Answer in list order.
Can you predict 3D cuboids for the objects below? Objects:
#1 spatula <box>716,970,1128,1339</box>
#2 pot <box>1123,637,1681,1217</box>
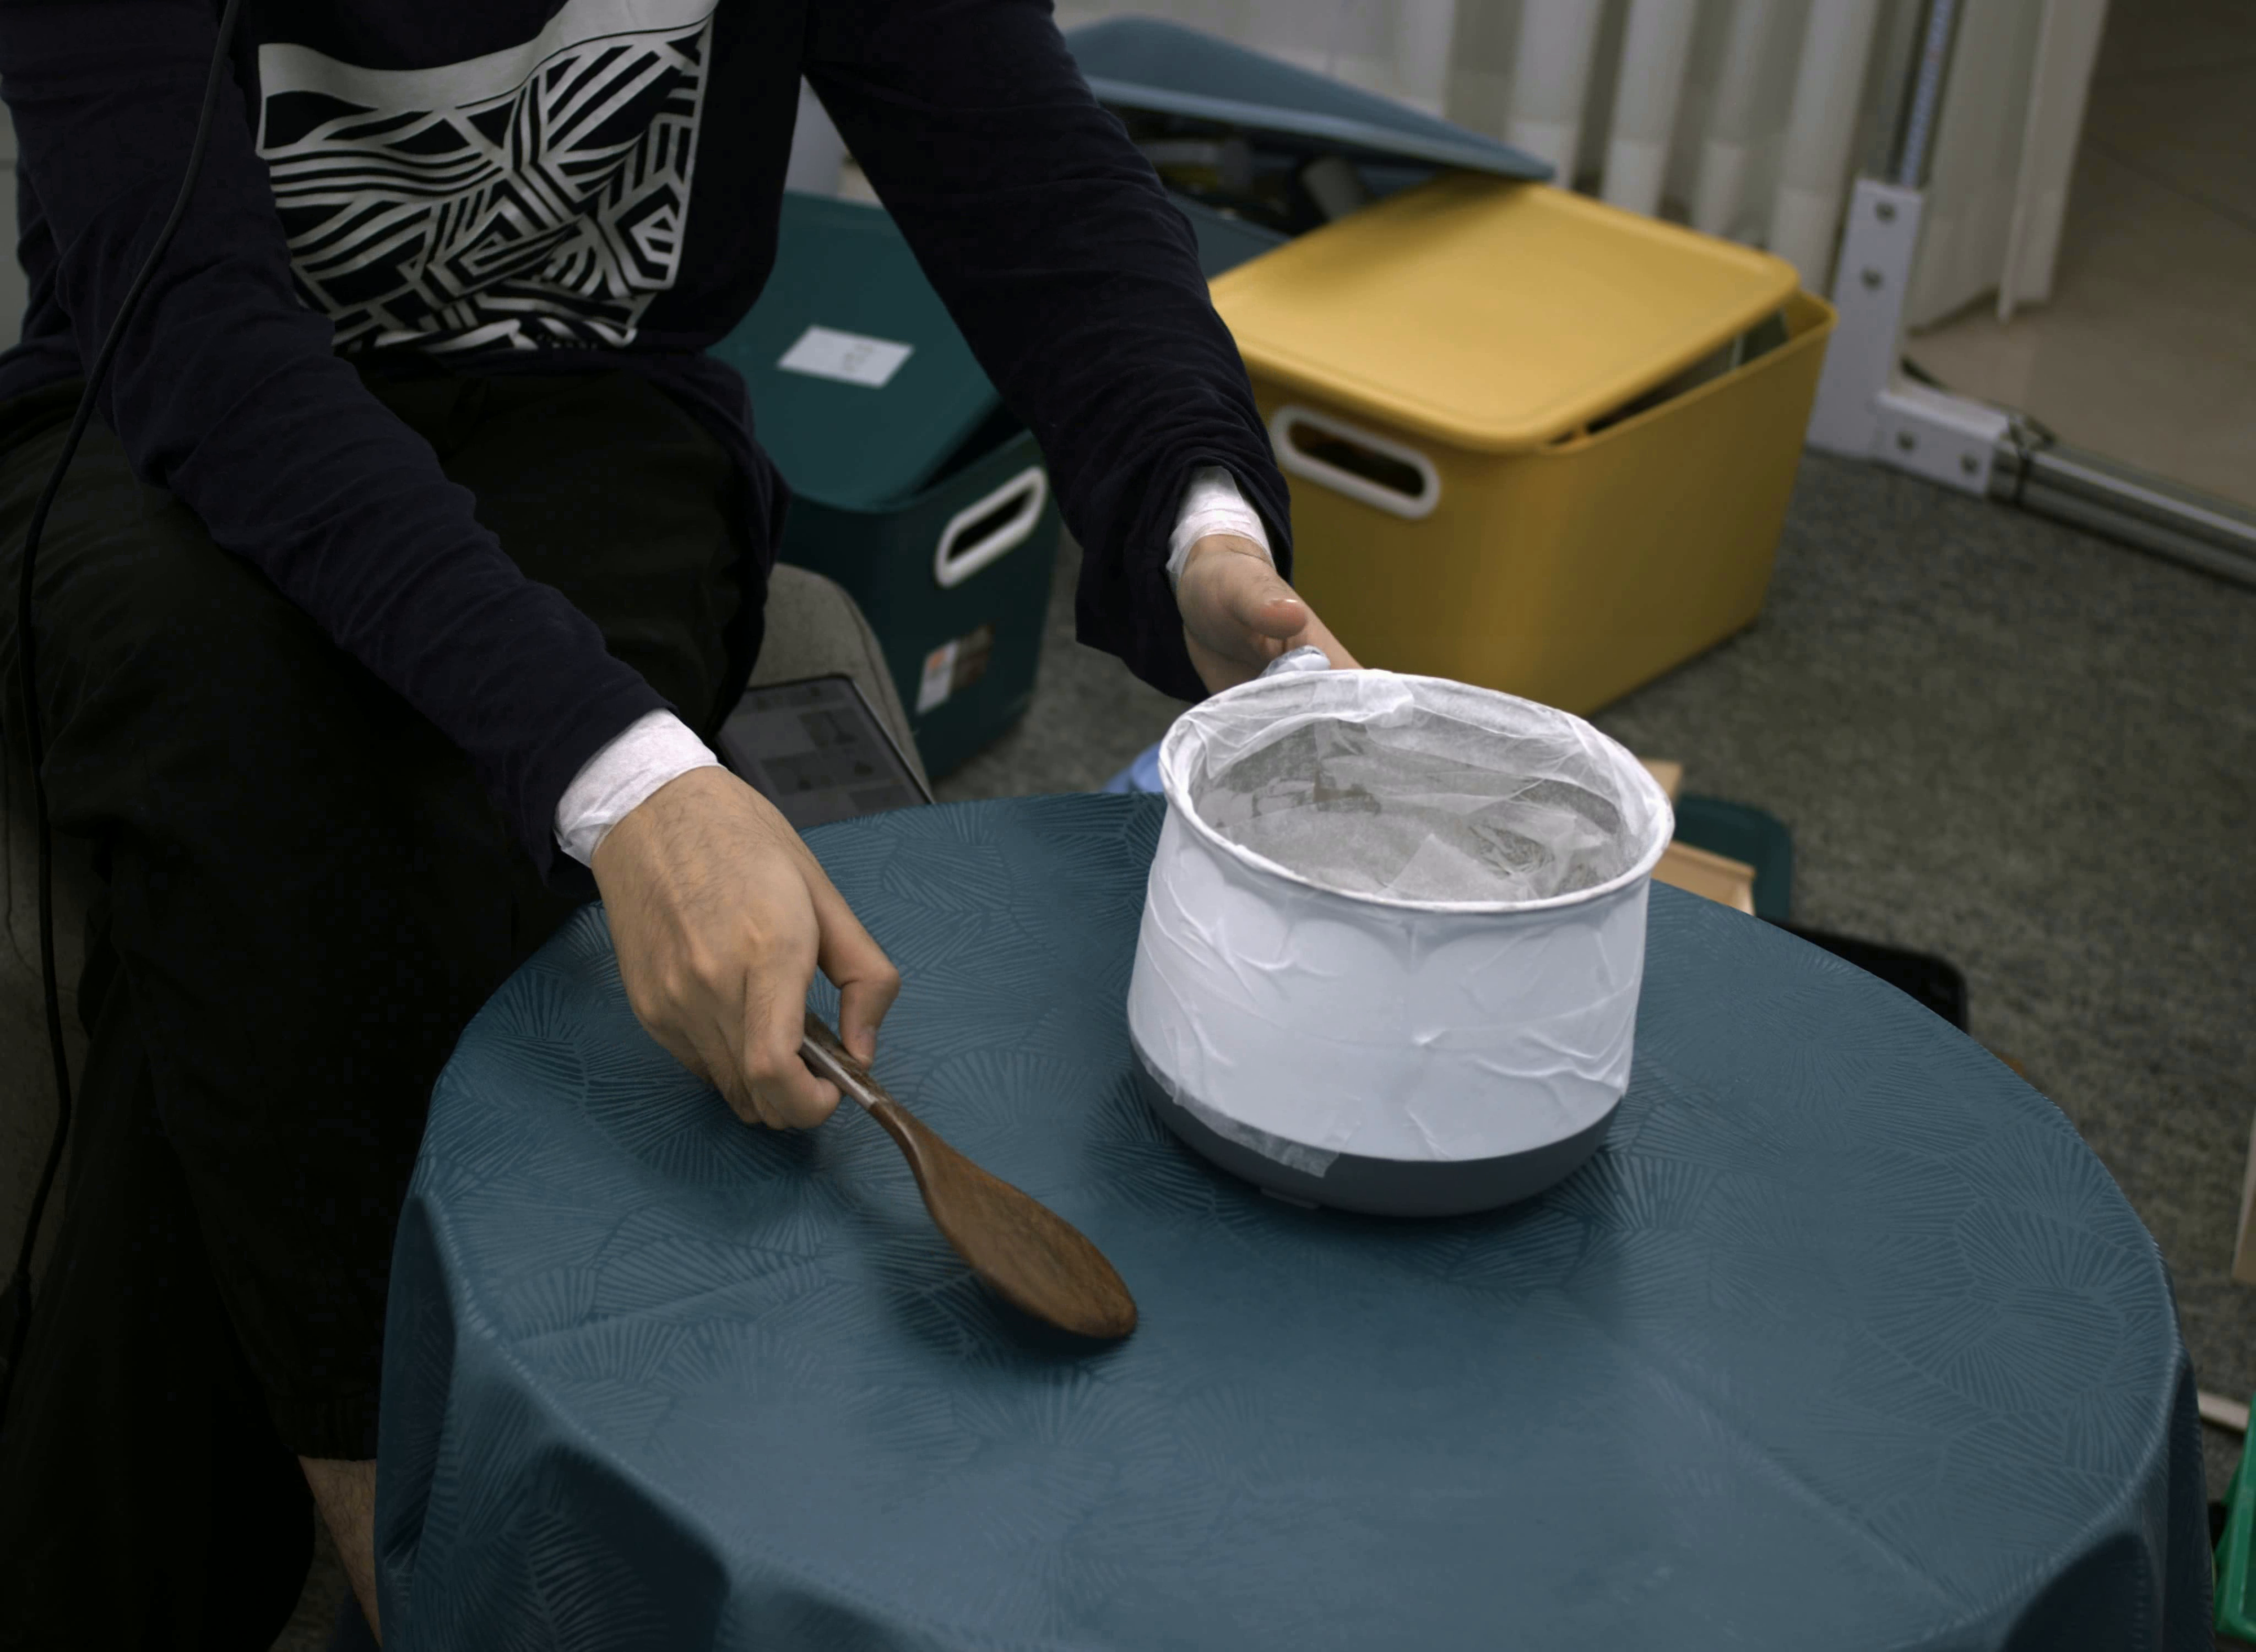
[{"bbox_3d":[-0.074,0.106,1.769,0.071,0.009,0.217,18,17,-48],"label":"spatula"},{"bbox_3d":[0.081,0.028,1.857,0.177,0.136,0.236,-2,29,-23],"label":"pot"}]
